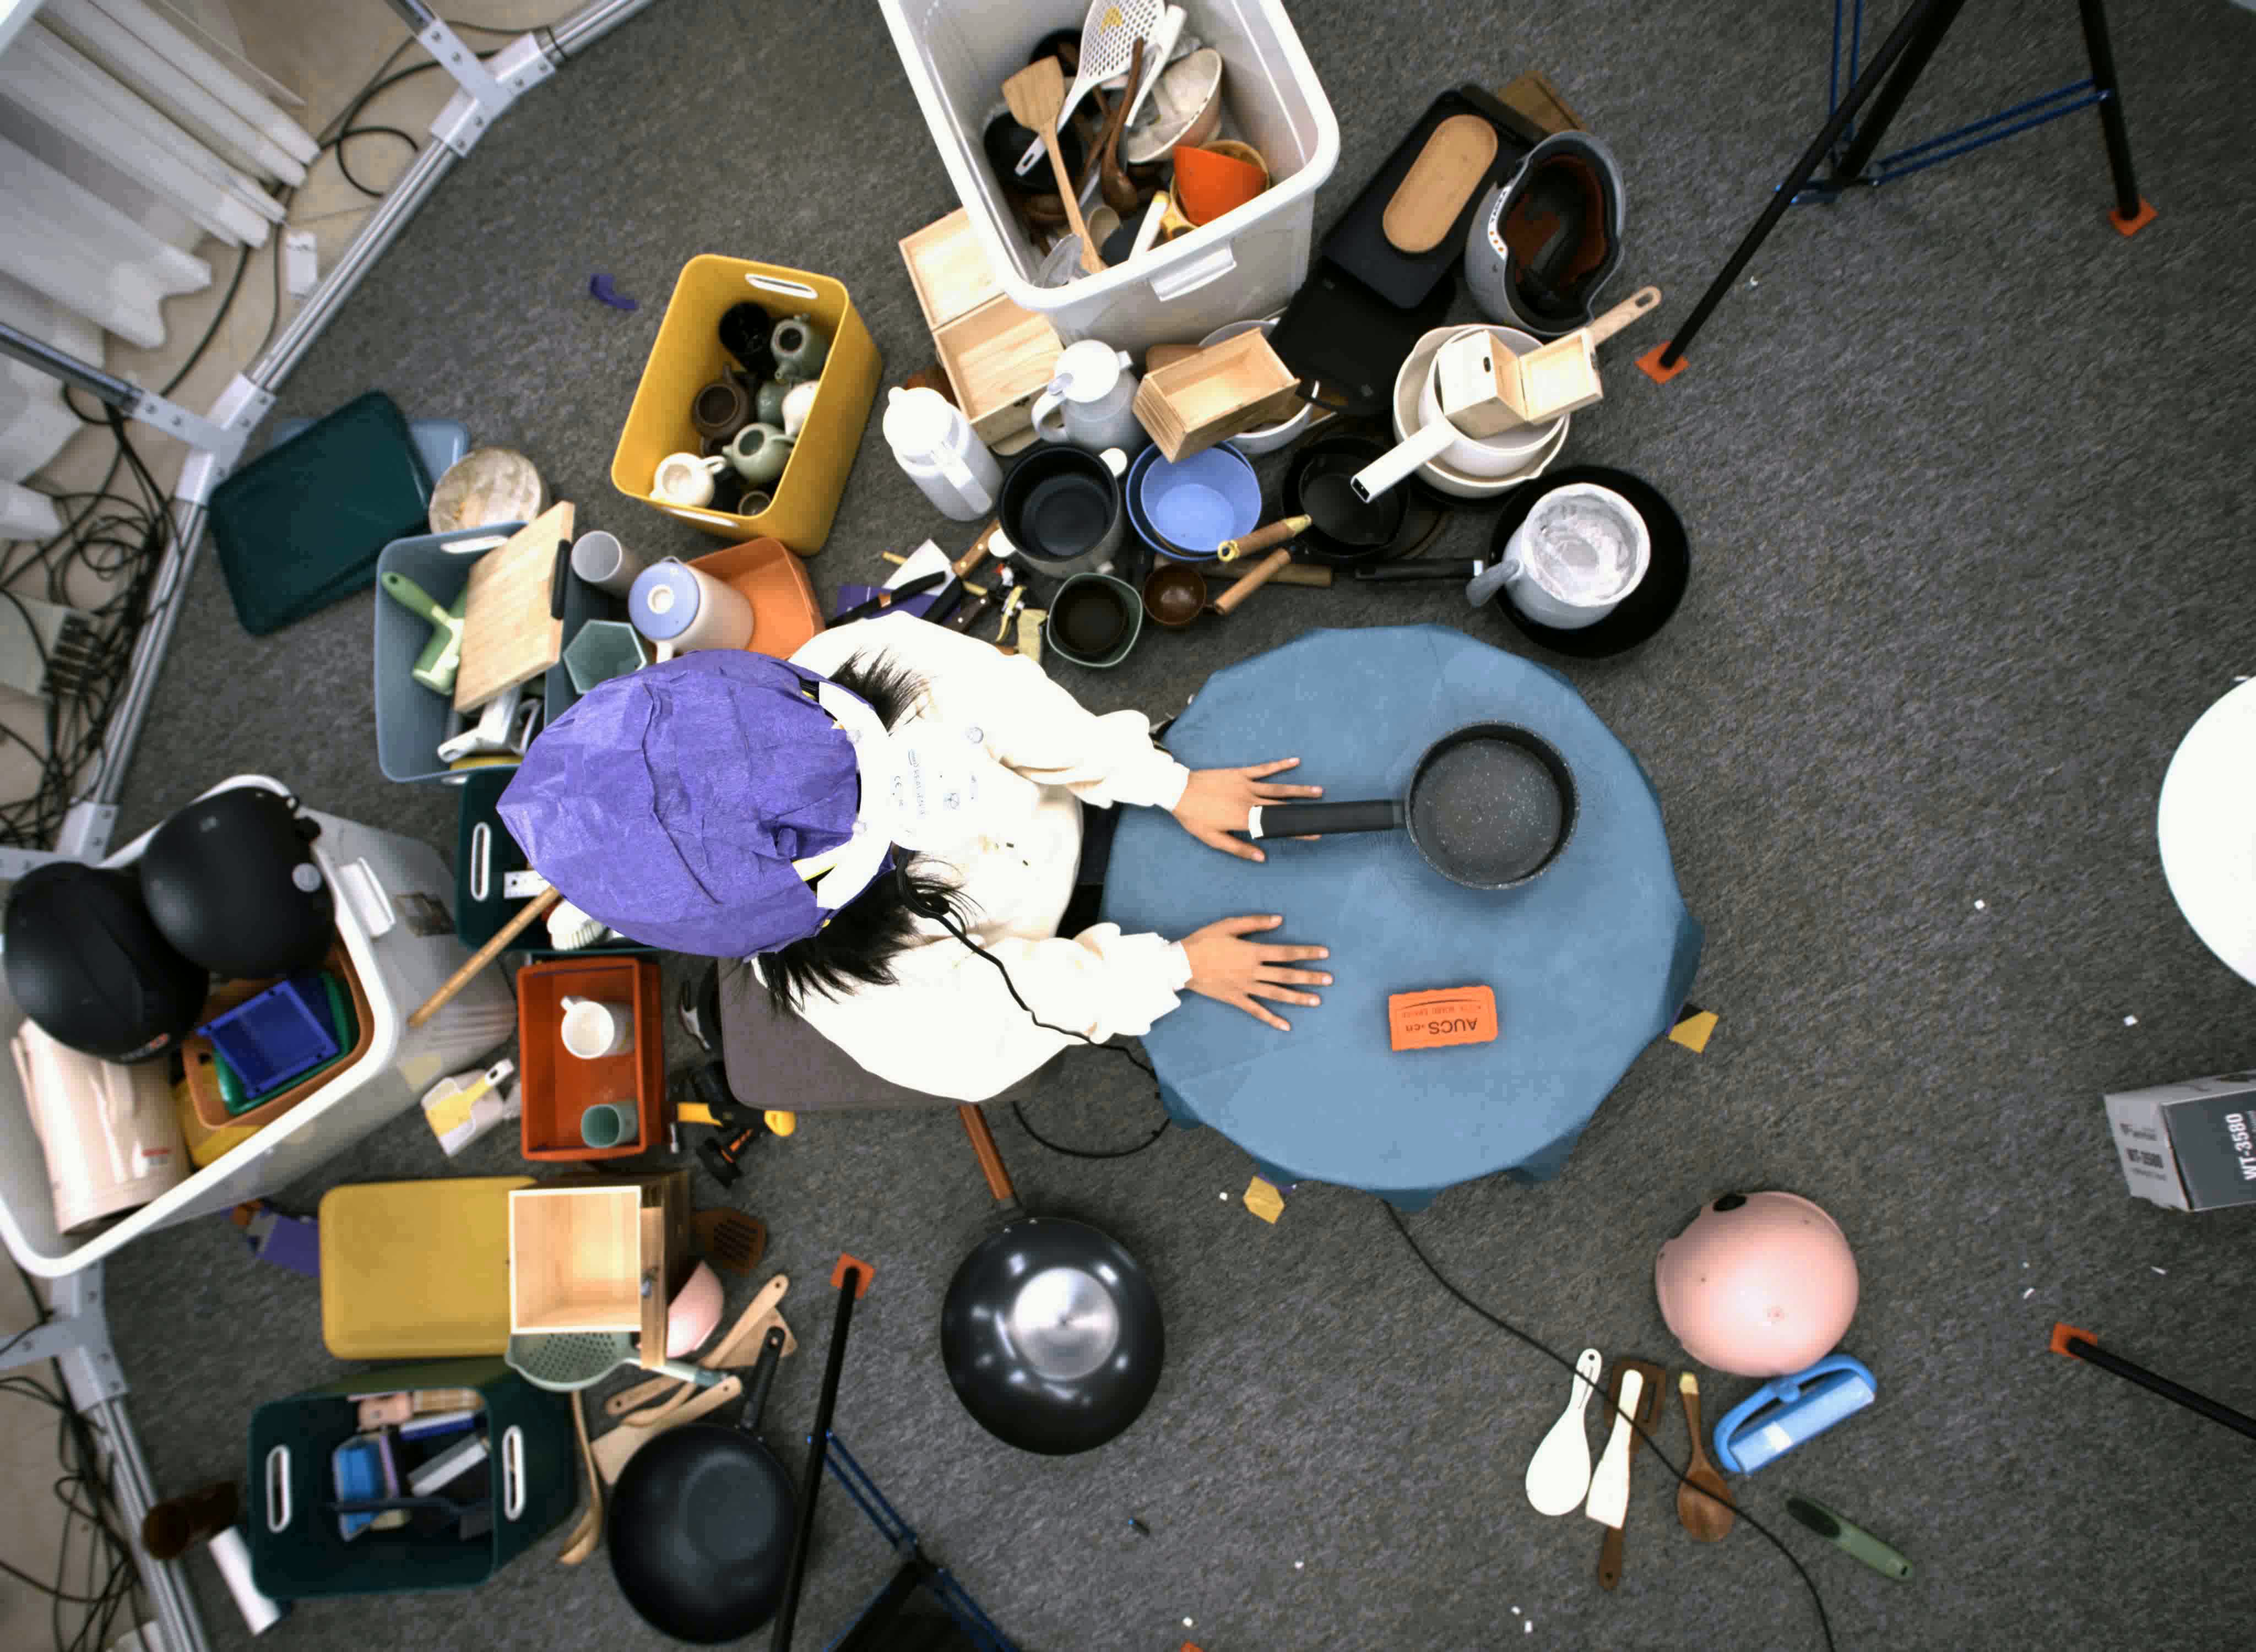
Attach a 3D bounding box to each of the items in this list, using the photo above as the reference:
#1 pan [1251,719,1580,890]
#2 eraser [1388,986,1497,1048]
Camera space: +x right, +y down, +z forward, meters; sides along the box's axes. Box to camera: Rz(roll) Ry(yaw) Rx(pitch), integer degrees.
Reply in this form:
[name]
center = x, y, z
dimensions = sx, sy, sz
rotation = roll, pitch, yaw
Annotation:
[pan]
center = 0.291, -0.017, 1.419
dimensions = 0.330, 0.086, 0.171
rotation = -2, 85, 9
[eraser]
center = 0.325, 0.196, 1.431
dimensions = 0.108, 0.023, 0.058
rotation = -6, 86, 10
